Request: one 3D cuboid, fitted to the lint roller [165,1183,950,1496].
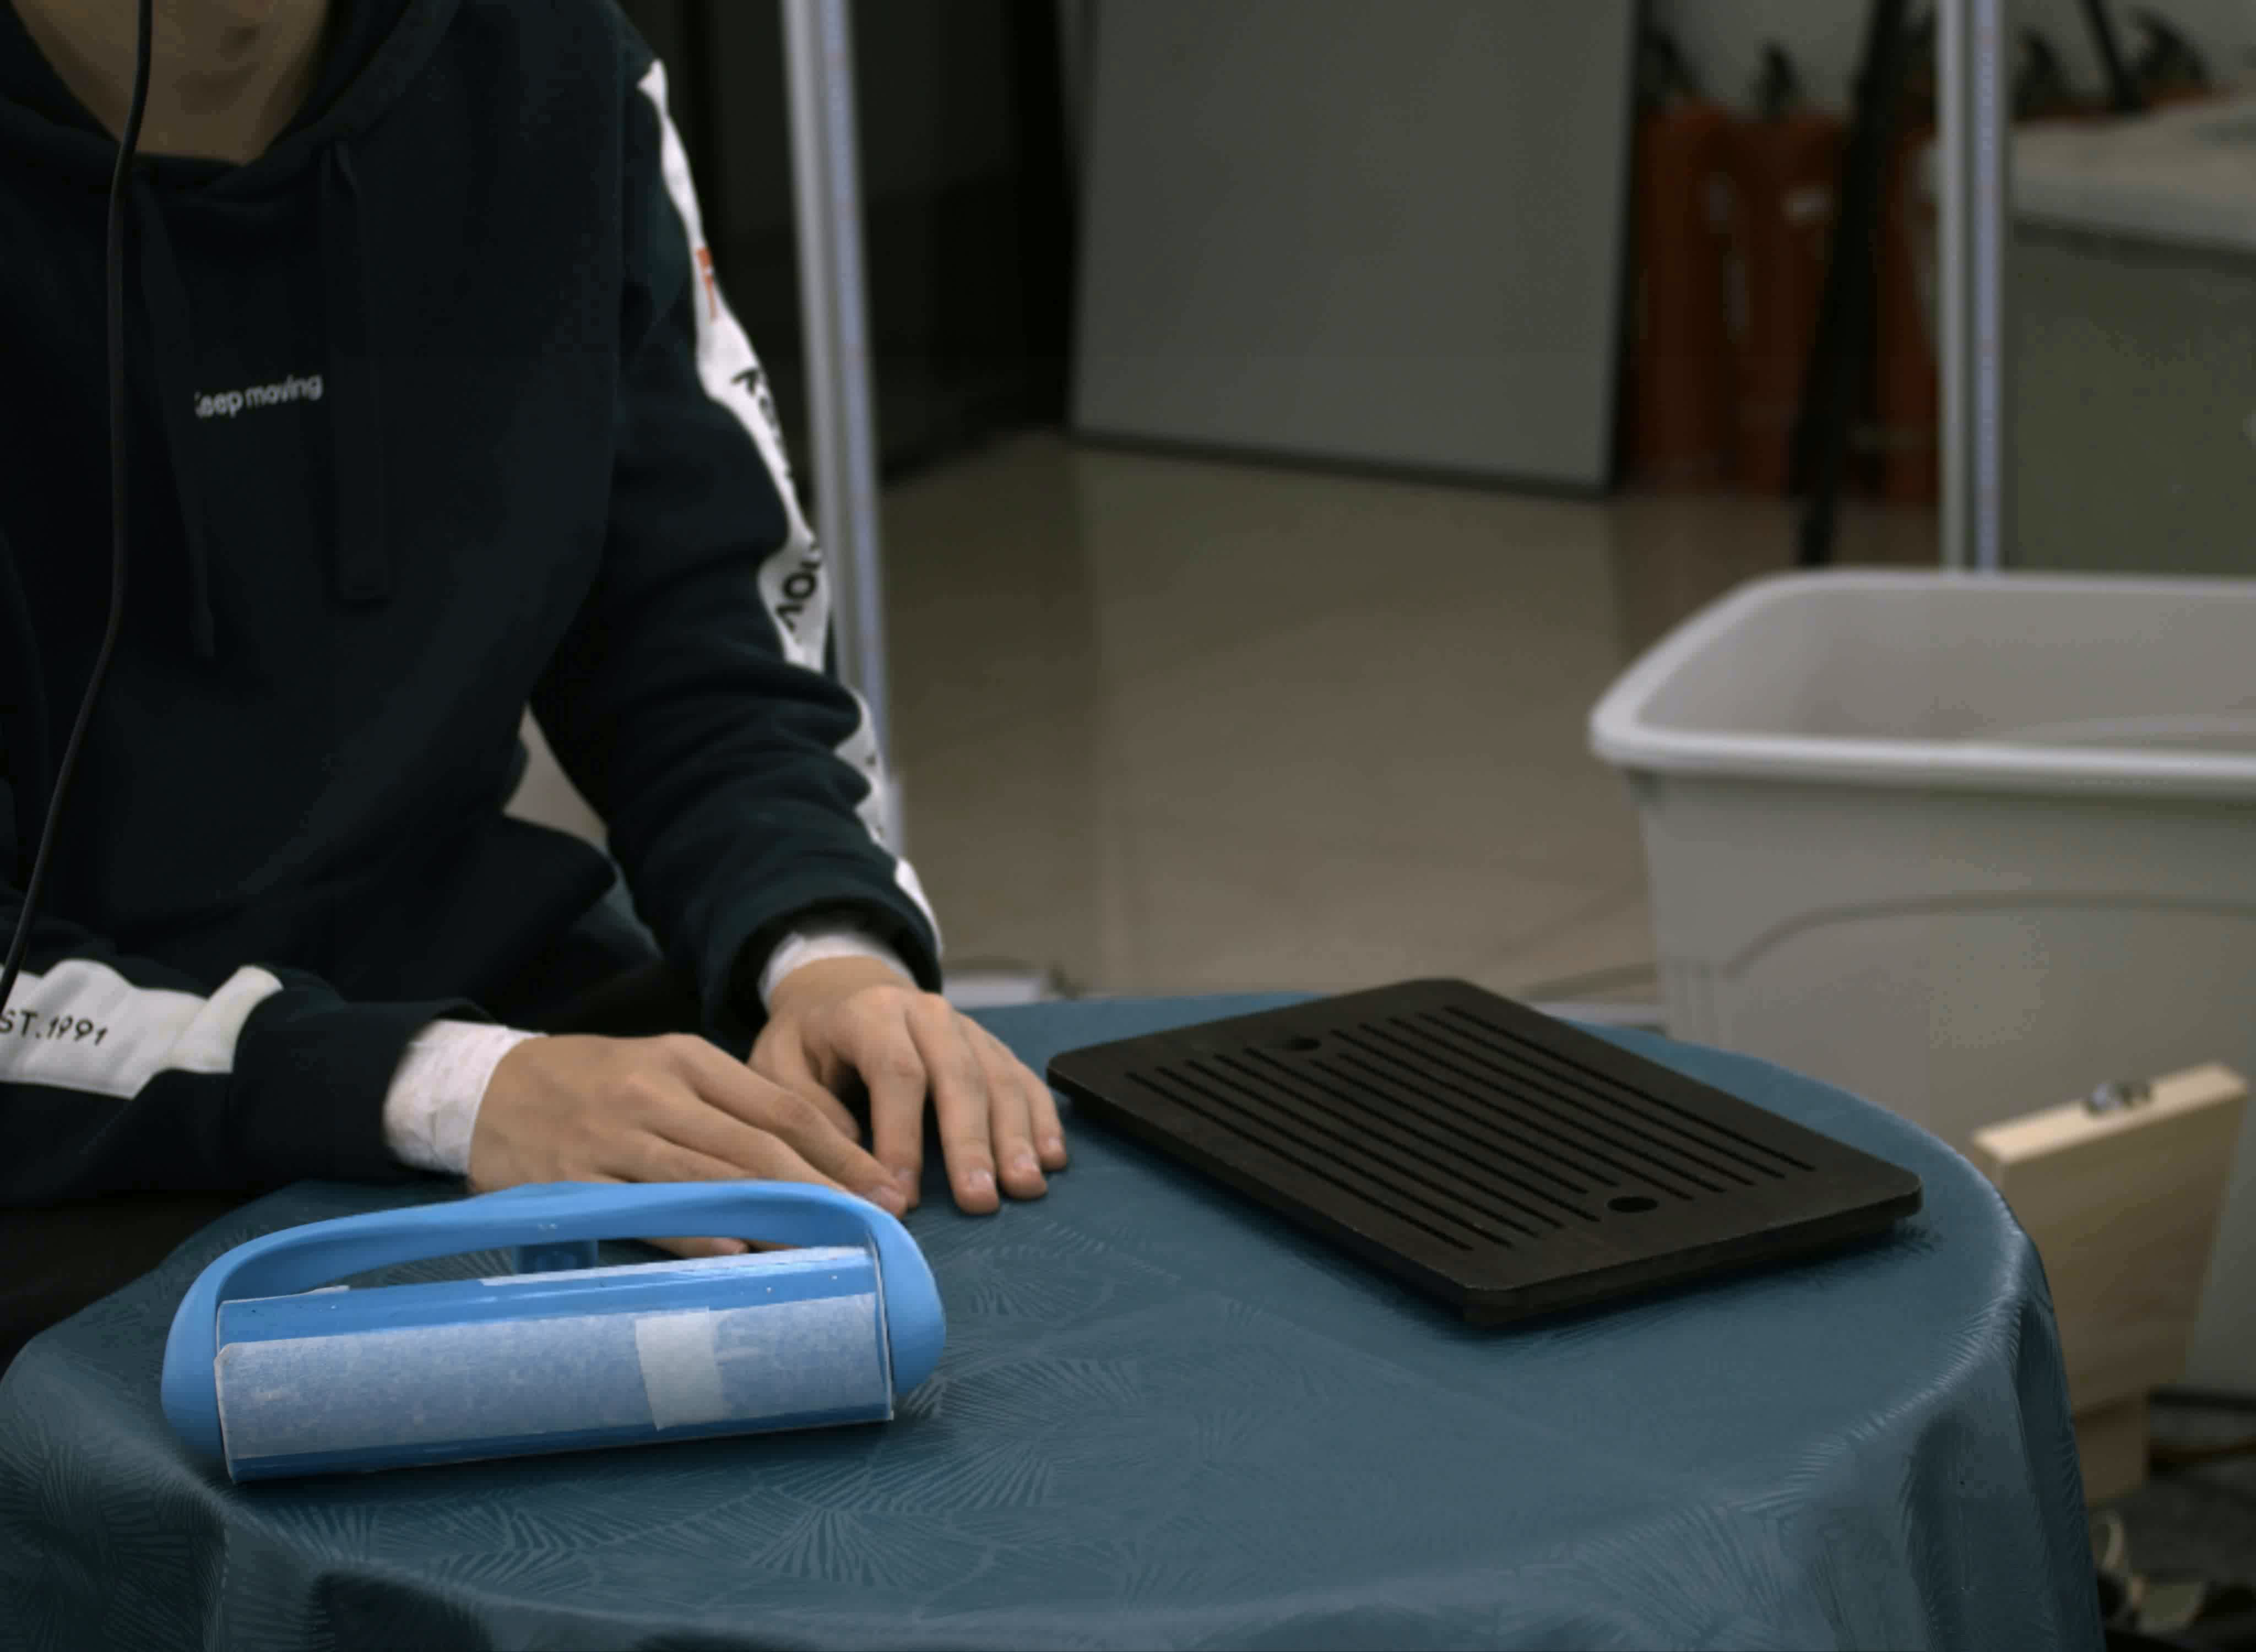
[{"bbox_3d":[-0.173,0.140,1.623,0.225,0.068,0.181,-8,16,-6],"label":"lint roller"}]

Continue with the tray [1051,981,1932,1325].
[{"bbox_3d":[0.113,0.104,1.770,0.166,0.019,0.309,-11,15,-25],"label":"tray"}]
